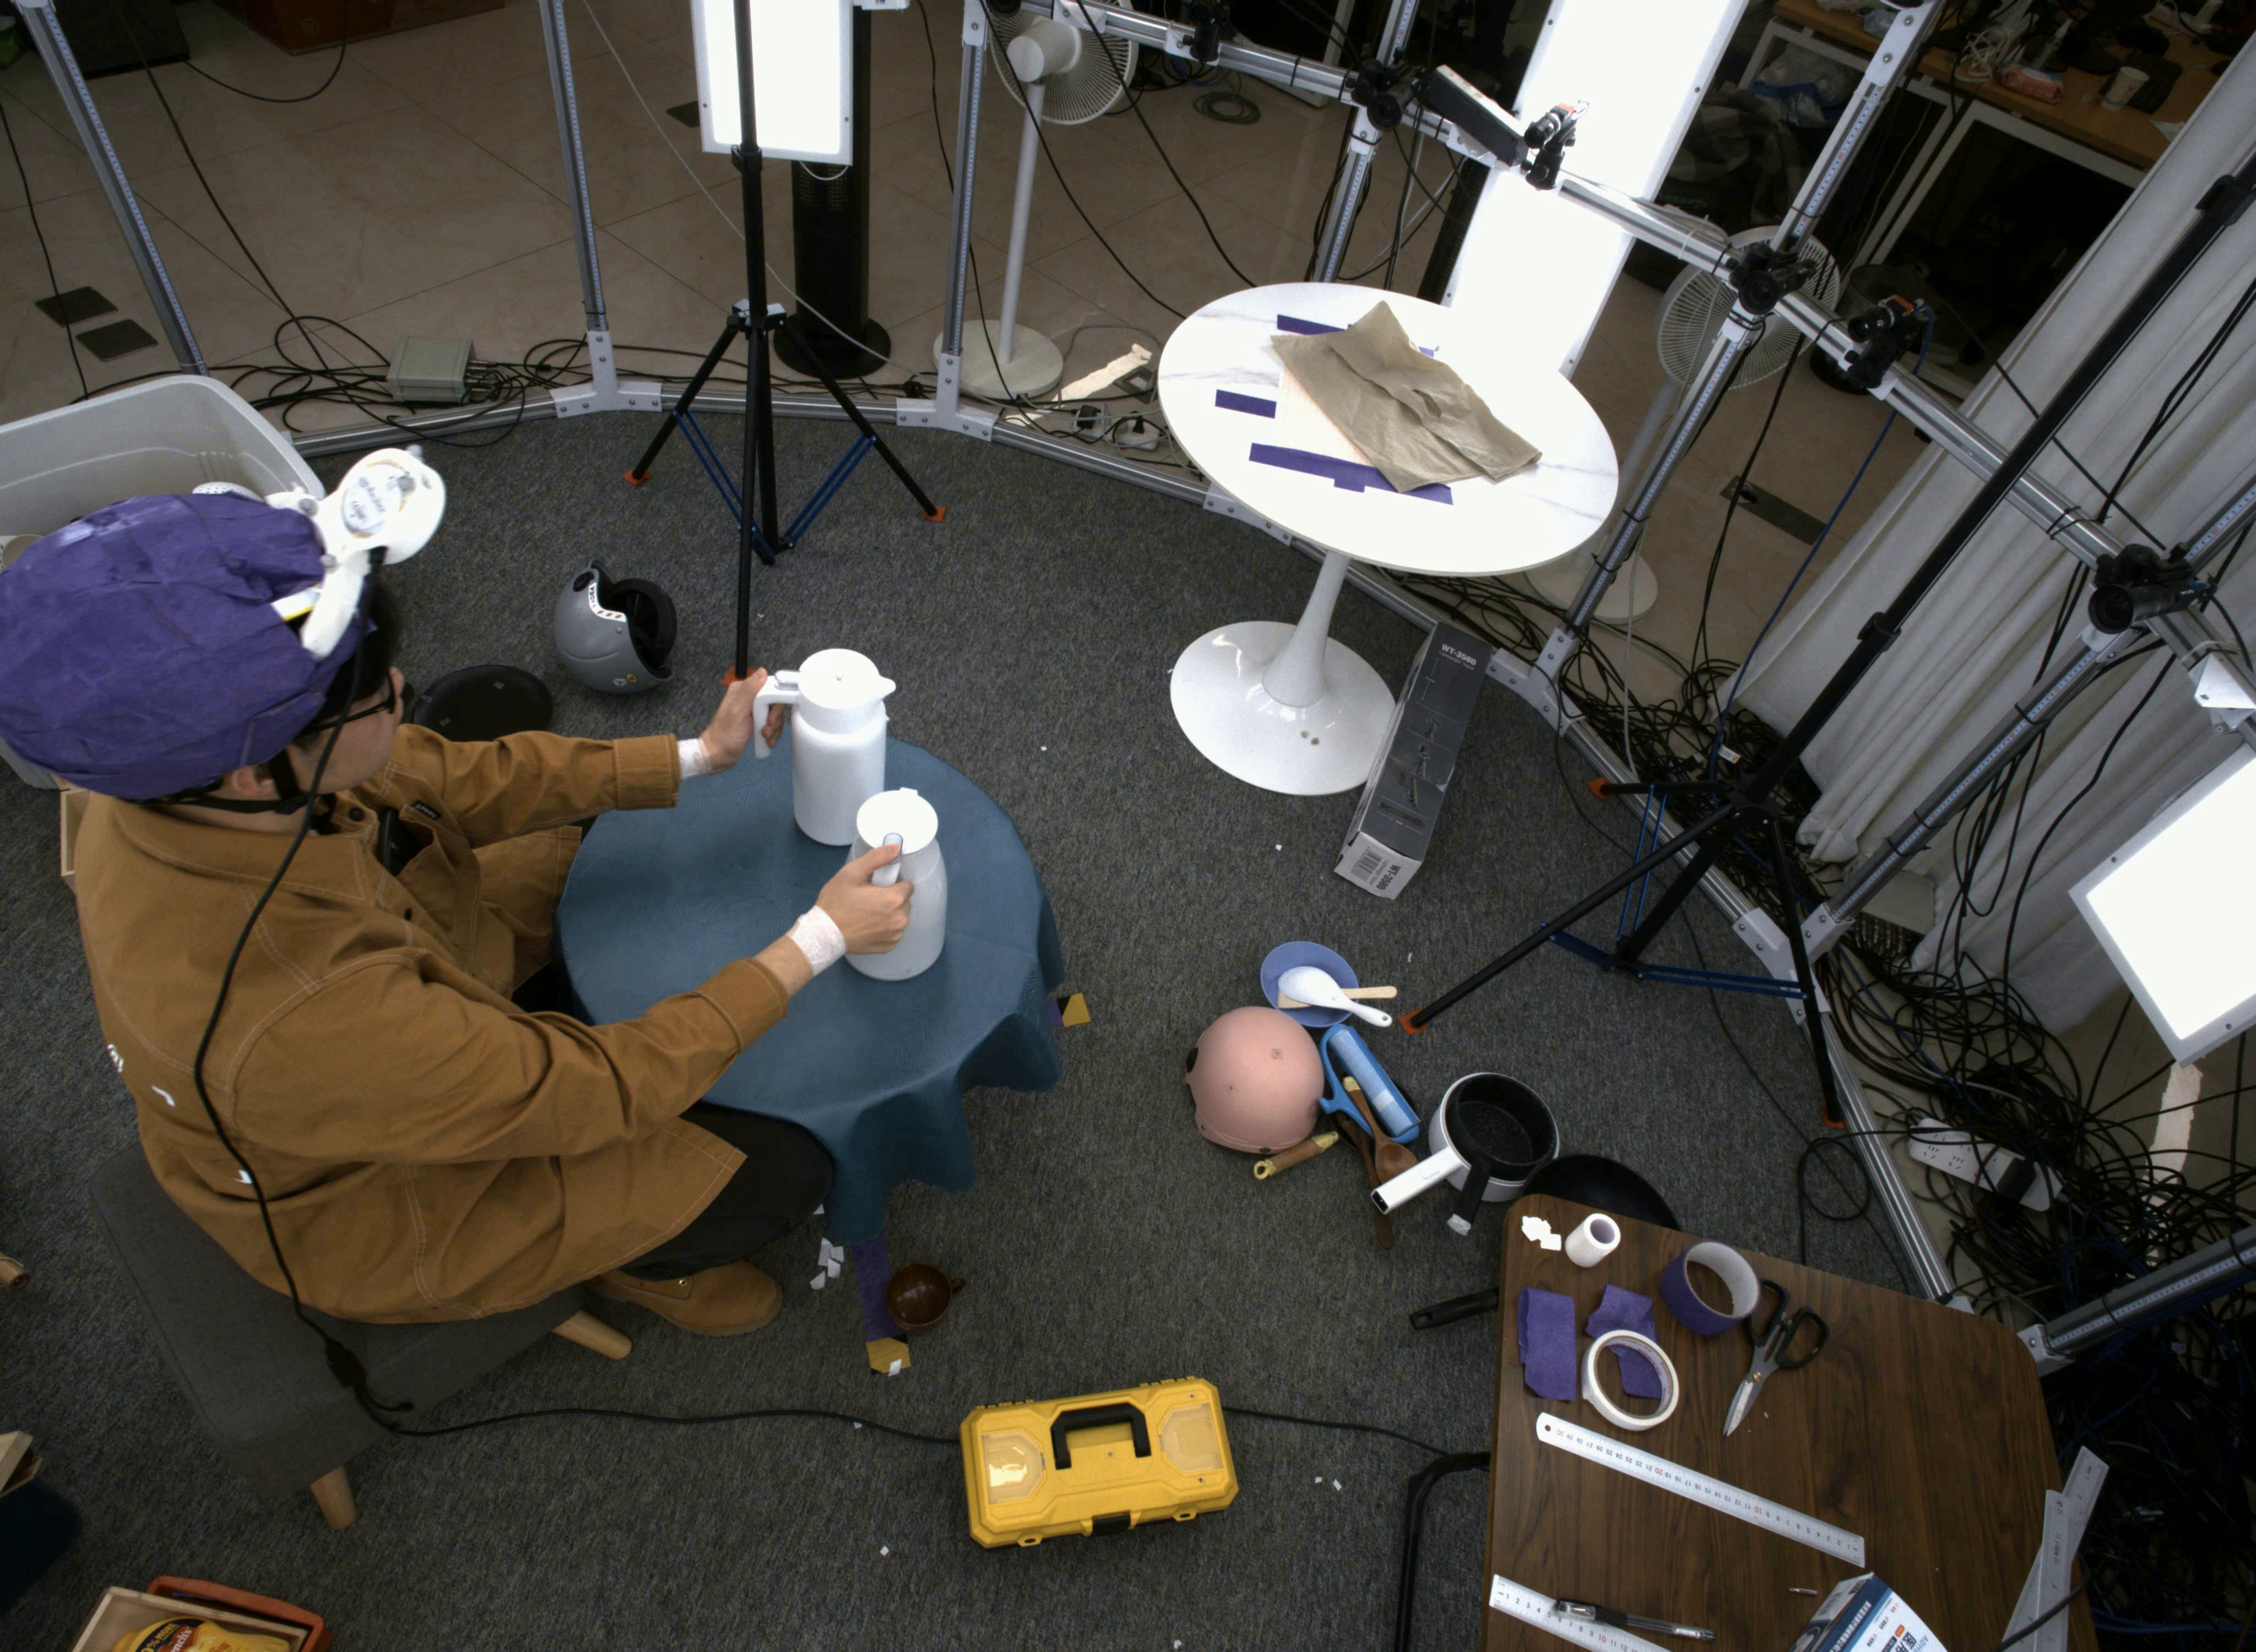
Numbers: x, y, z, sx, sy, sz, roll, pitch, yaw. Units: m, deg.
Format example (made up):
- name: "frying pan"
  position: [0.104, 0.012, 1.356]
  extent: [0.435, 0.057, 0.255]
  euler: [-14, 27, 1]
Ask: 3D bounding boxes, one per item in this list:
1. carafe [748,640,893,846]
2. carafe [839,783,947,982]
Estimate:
- name: "carafe"
  position: [-0.385, -0.100, 1.633]
  extent: [0.173, 0.274, 0.121]
  euler: [0, 54, -12]
- name: "carafe"
  position: [-0.281, 0.077, 1.540]
  extent: [0.132, 0.254, 0.165]
  euler: [10, 52, -4]
